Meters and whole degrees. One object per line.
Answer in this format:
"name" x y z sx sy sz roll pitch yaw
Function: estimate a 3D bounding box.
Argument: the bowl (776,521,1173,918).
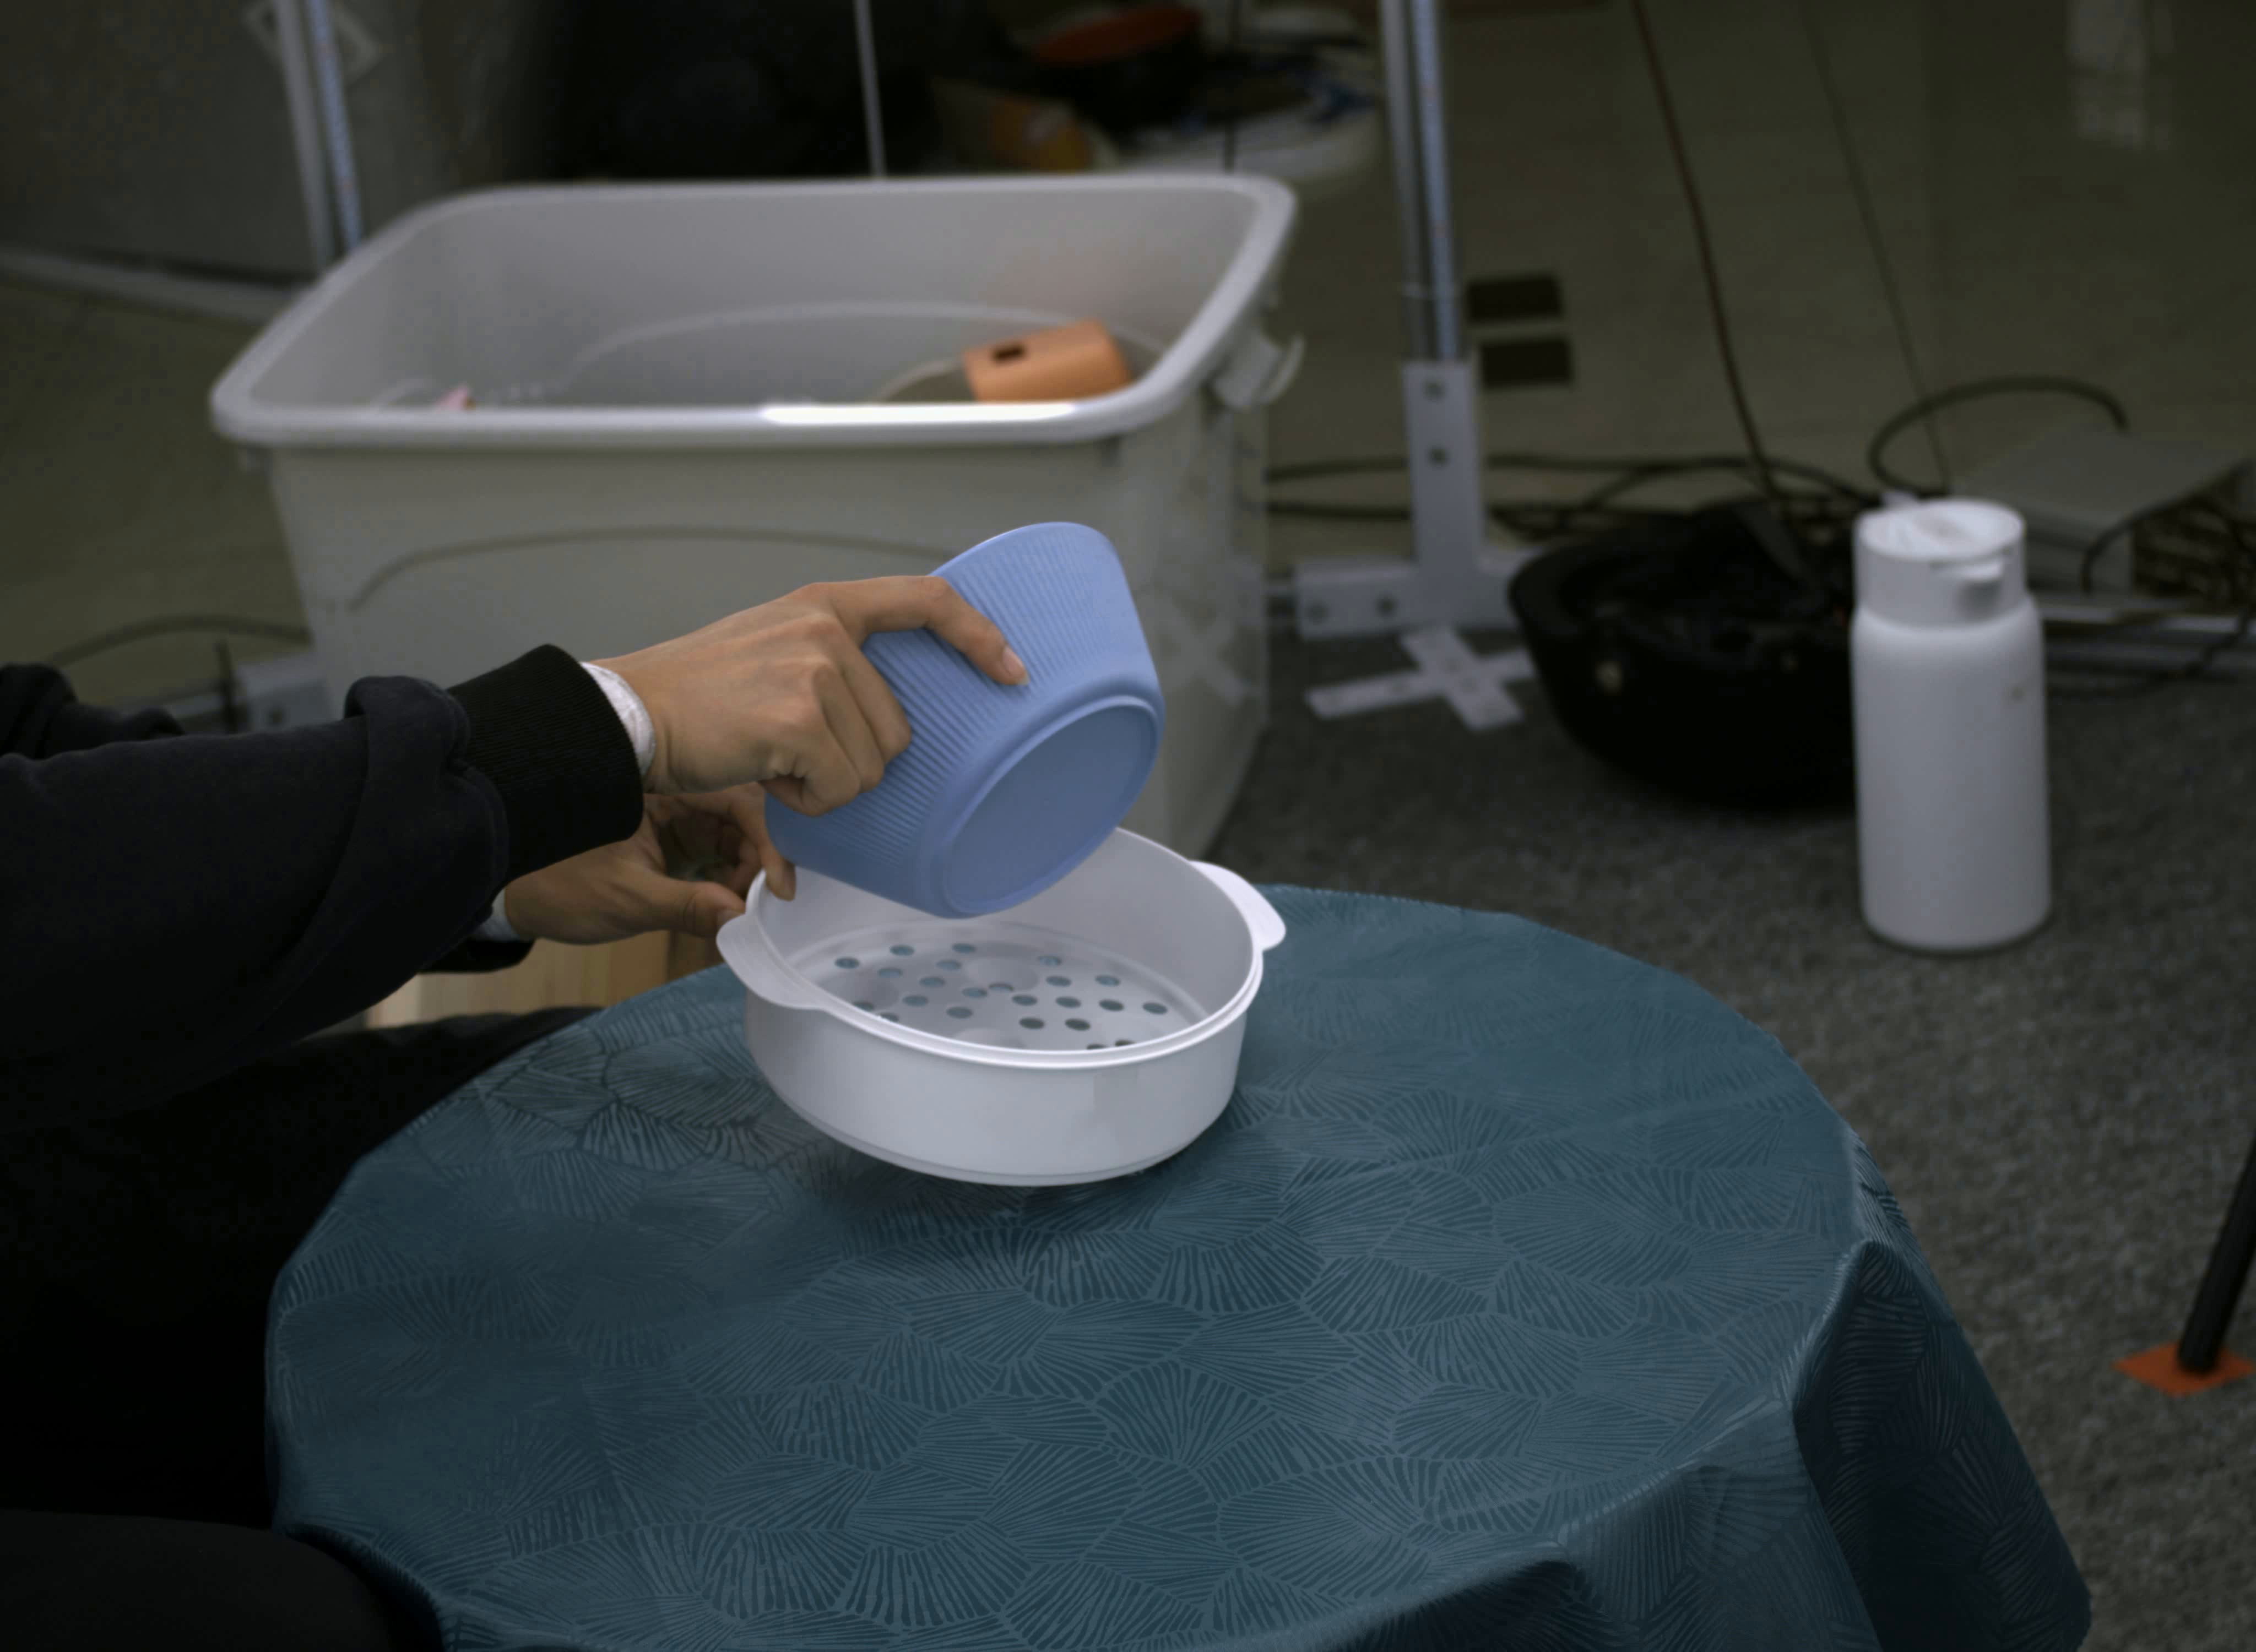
"bowl" -0.047 -0.029 2.172 0.174 0.179 0.069 -25 60 -35

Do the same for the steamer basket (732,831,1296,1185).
"steamer basket" -0.046 0.065 2.202 0.230 0.070 0.199 -5 31 -28
